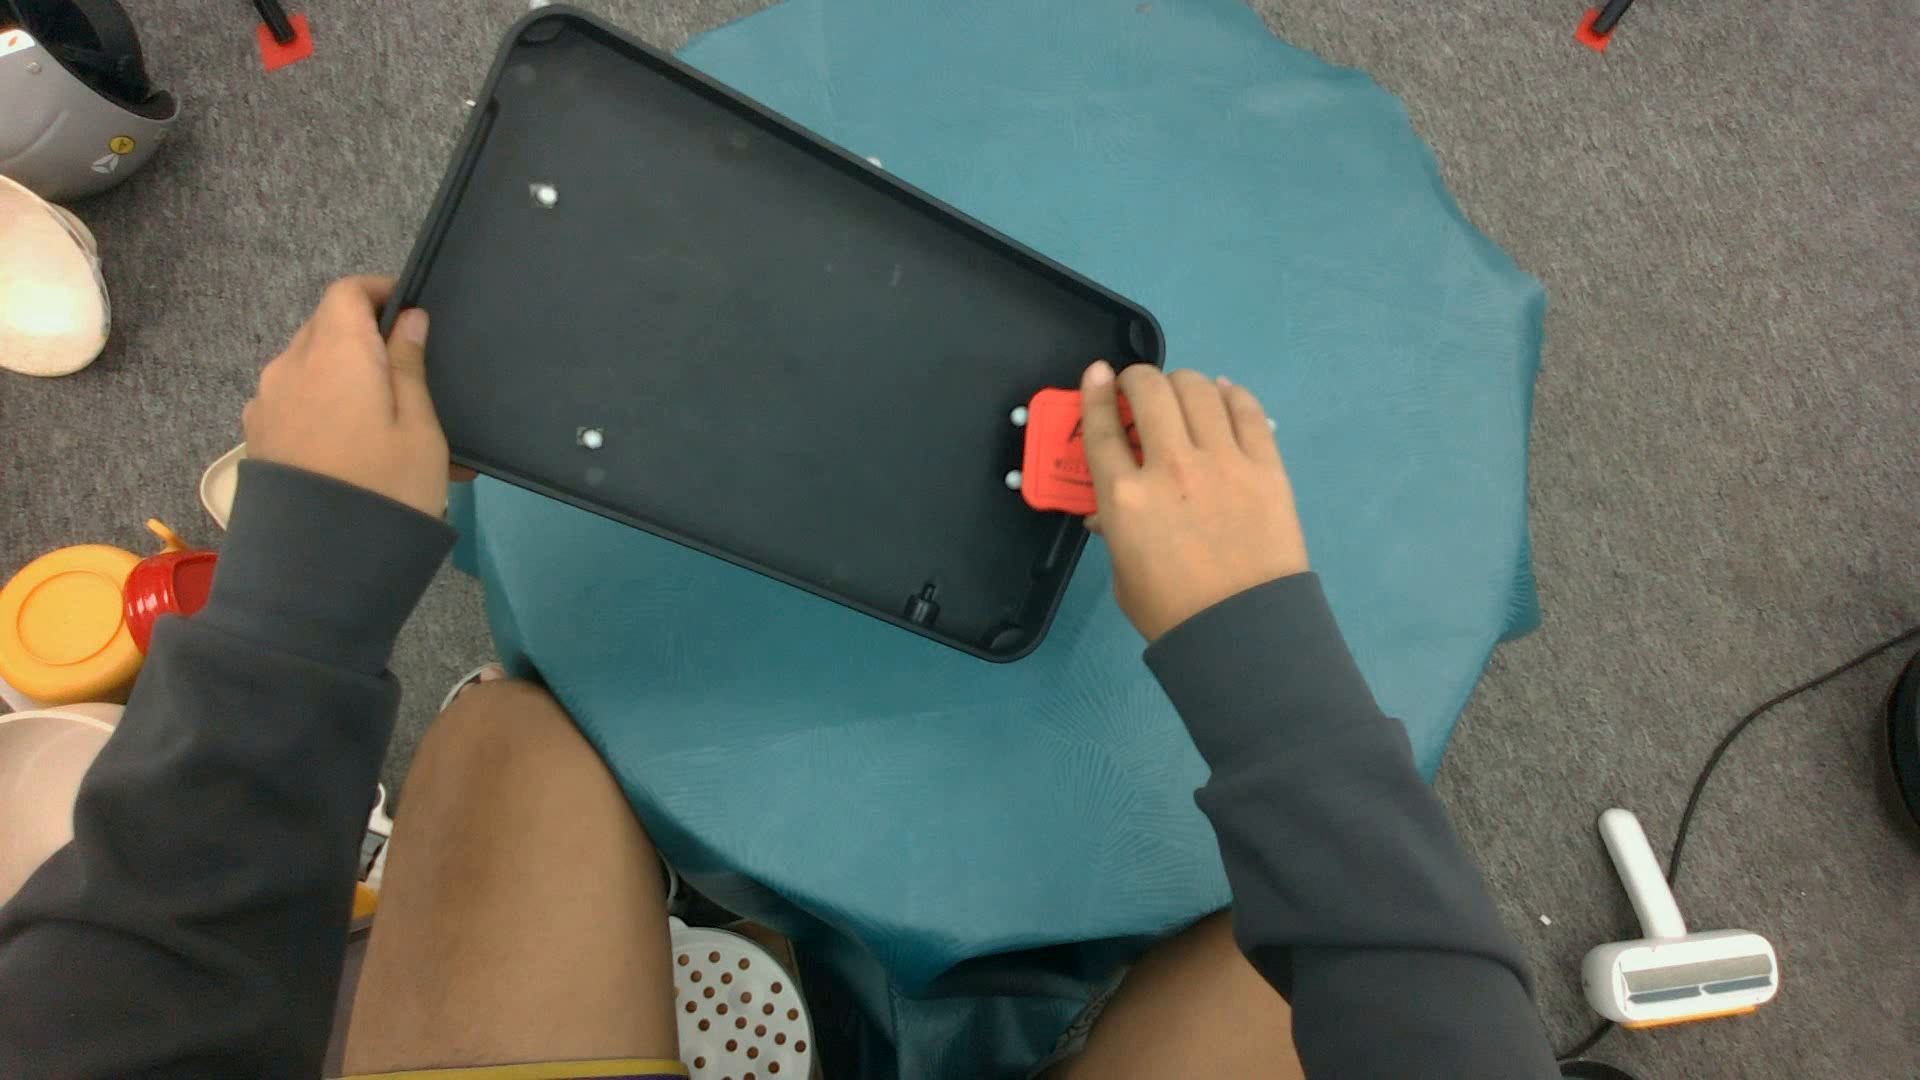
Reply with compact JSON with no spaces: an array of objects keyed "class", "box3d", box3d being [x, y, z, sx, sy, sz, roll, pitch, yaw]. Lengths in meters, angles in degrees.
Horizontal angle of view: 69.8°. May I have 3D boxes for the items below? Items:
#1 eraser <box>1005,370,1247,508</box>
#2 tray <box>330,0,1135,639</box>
[{"class":"eraser","box3d":[0.076,-0.047,0.639,0.108,0.023,0.059,5,98,3]},{"class":"tray","box3d":[-0.085,-0.085,0.604,0.318,0.037,0.184,20,93,-25]}]
